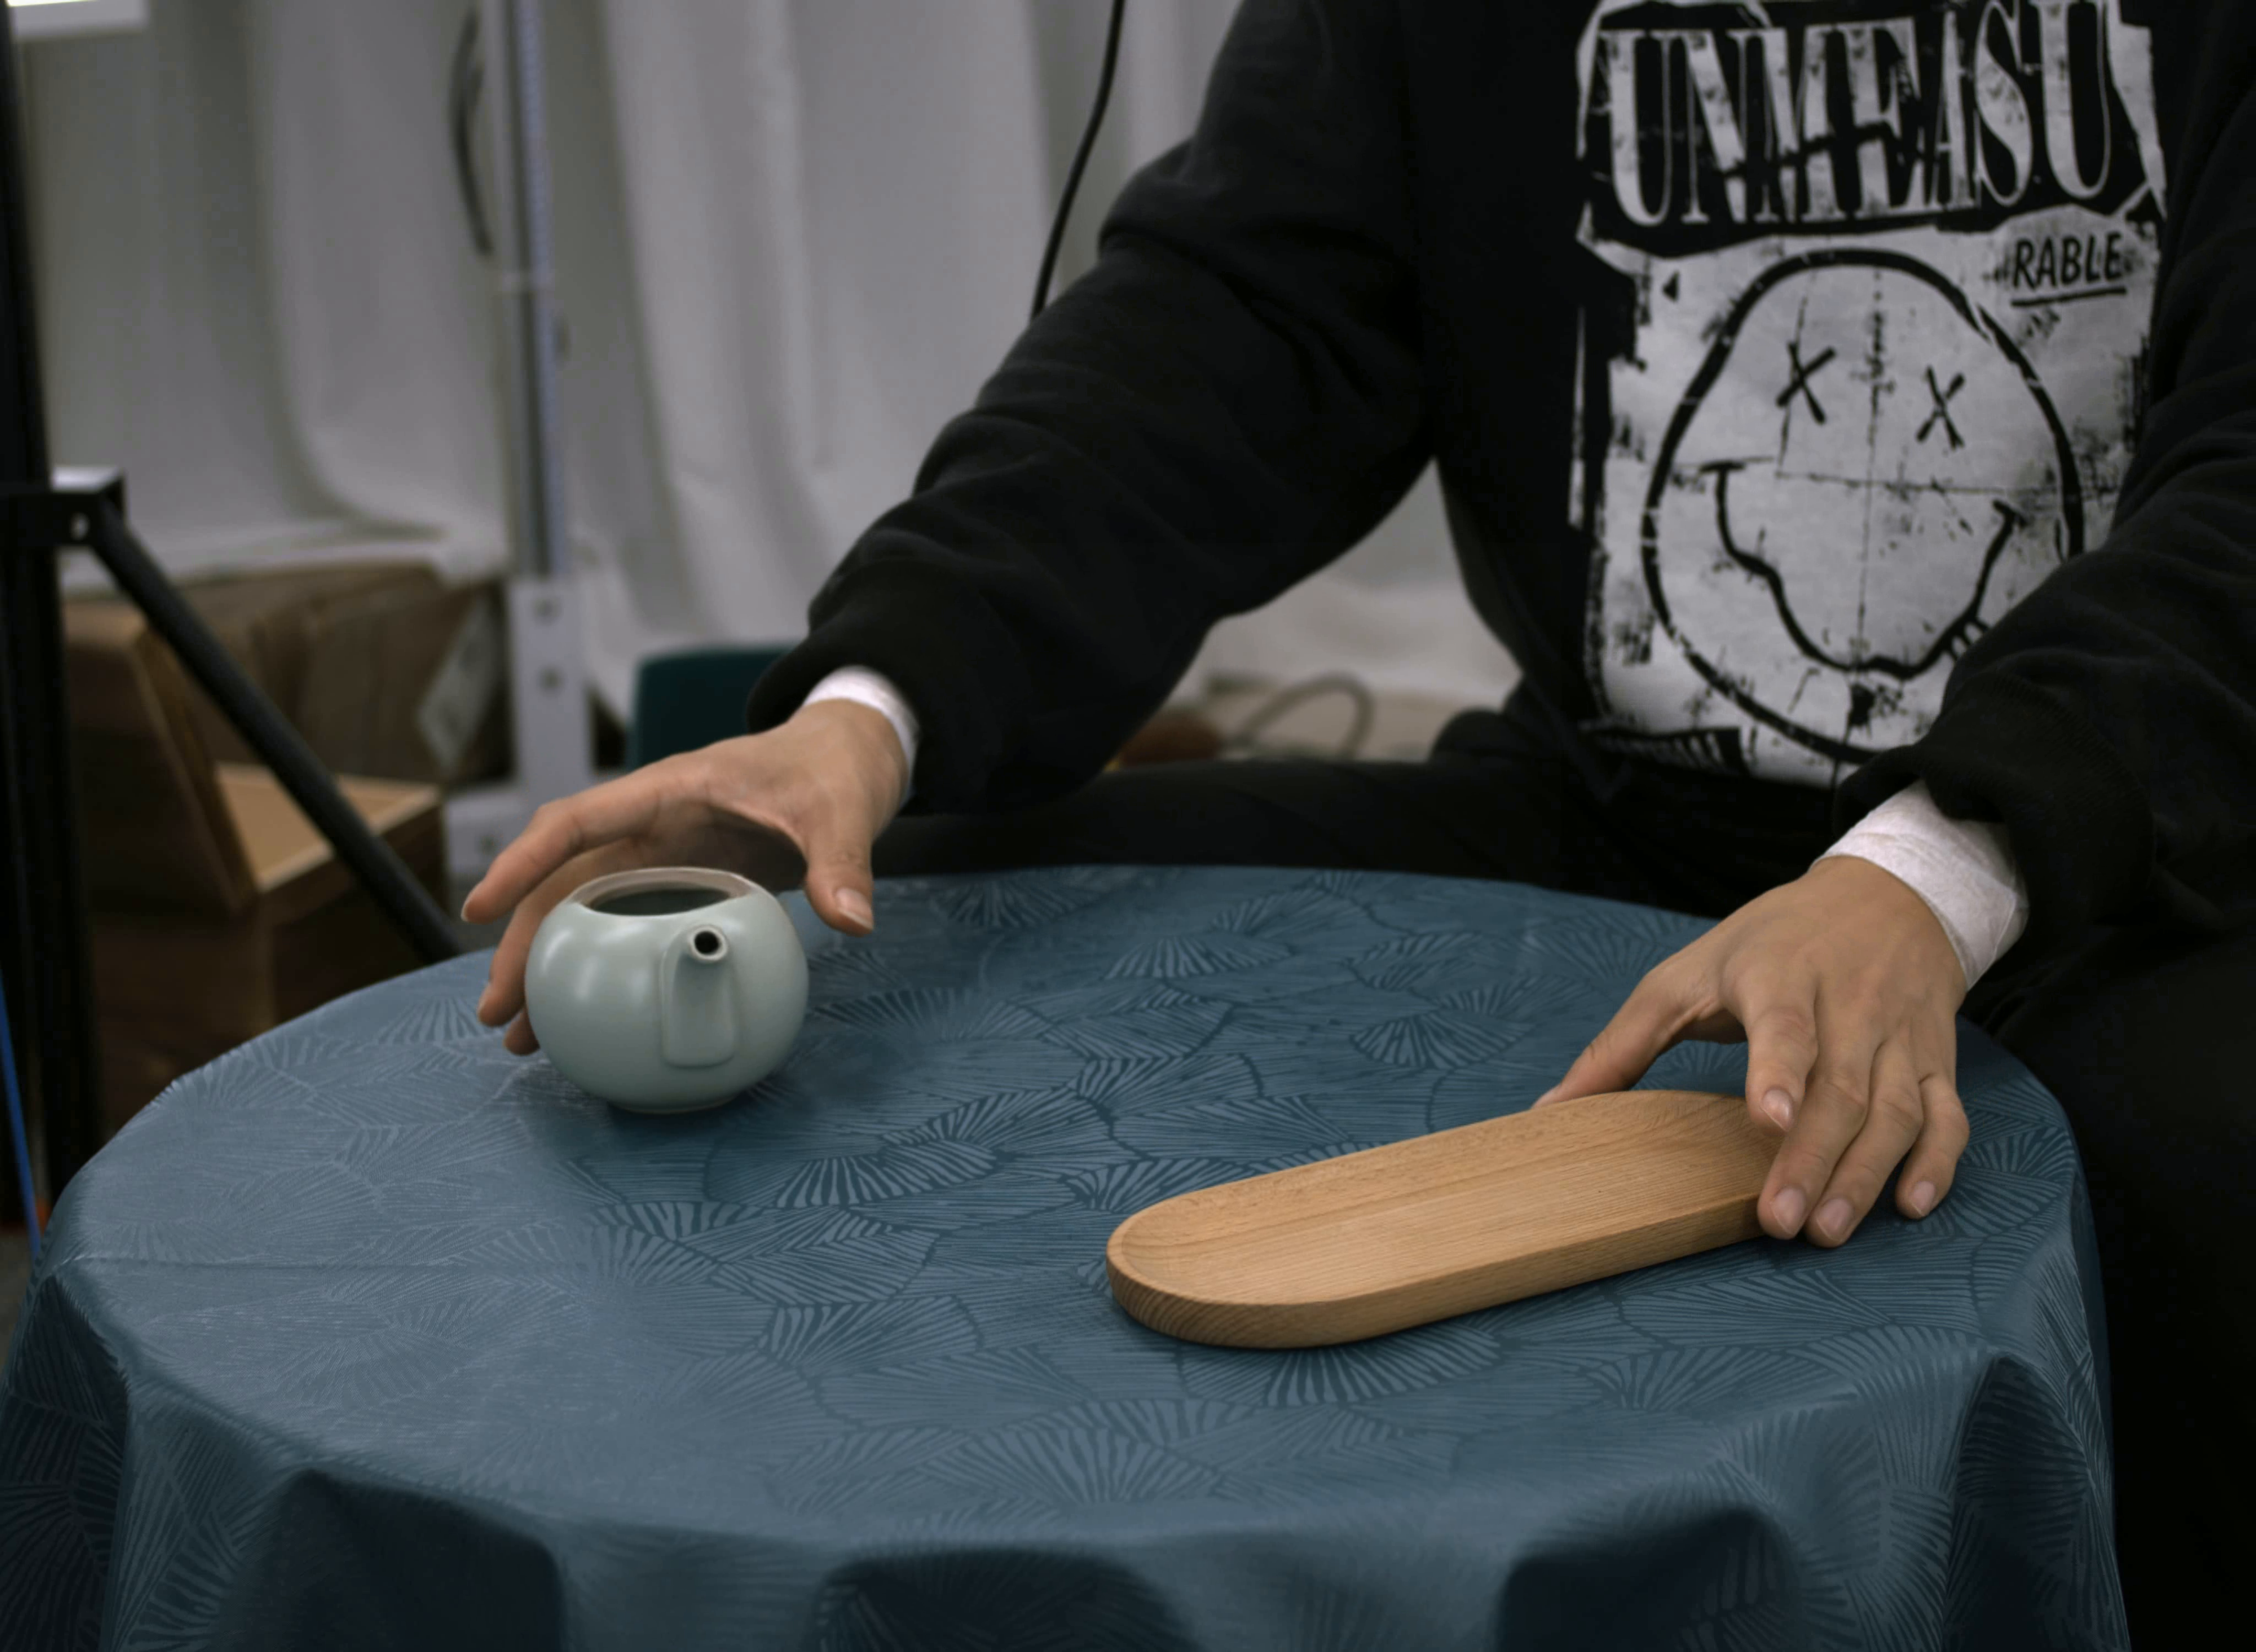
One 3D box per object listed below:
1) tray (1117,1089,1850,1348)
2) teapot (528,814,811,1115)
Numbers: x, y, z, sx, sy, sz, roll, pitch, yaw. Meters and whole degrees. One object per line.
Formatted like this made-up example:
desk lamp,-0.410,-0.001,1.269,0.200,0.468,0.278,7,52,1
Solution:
tray,0.103,0.111,1.500,0.226,0.020,0.104,-10,19,-29
teapot,-0.142,0.049,1.656,0.087,0.075,0.146,-6,18,-13
